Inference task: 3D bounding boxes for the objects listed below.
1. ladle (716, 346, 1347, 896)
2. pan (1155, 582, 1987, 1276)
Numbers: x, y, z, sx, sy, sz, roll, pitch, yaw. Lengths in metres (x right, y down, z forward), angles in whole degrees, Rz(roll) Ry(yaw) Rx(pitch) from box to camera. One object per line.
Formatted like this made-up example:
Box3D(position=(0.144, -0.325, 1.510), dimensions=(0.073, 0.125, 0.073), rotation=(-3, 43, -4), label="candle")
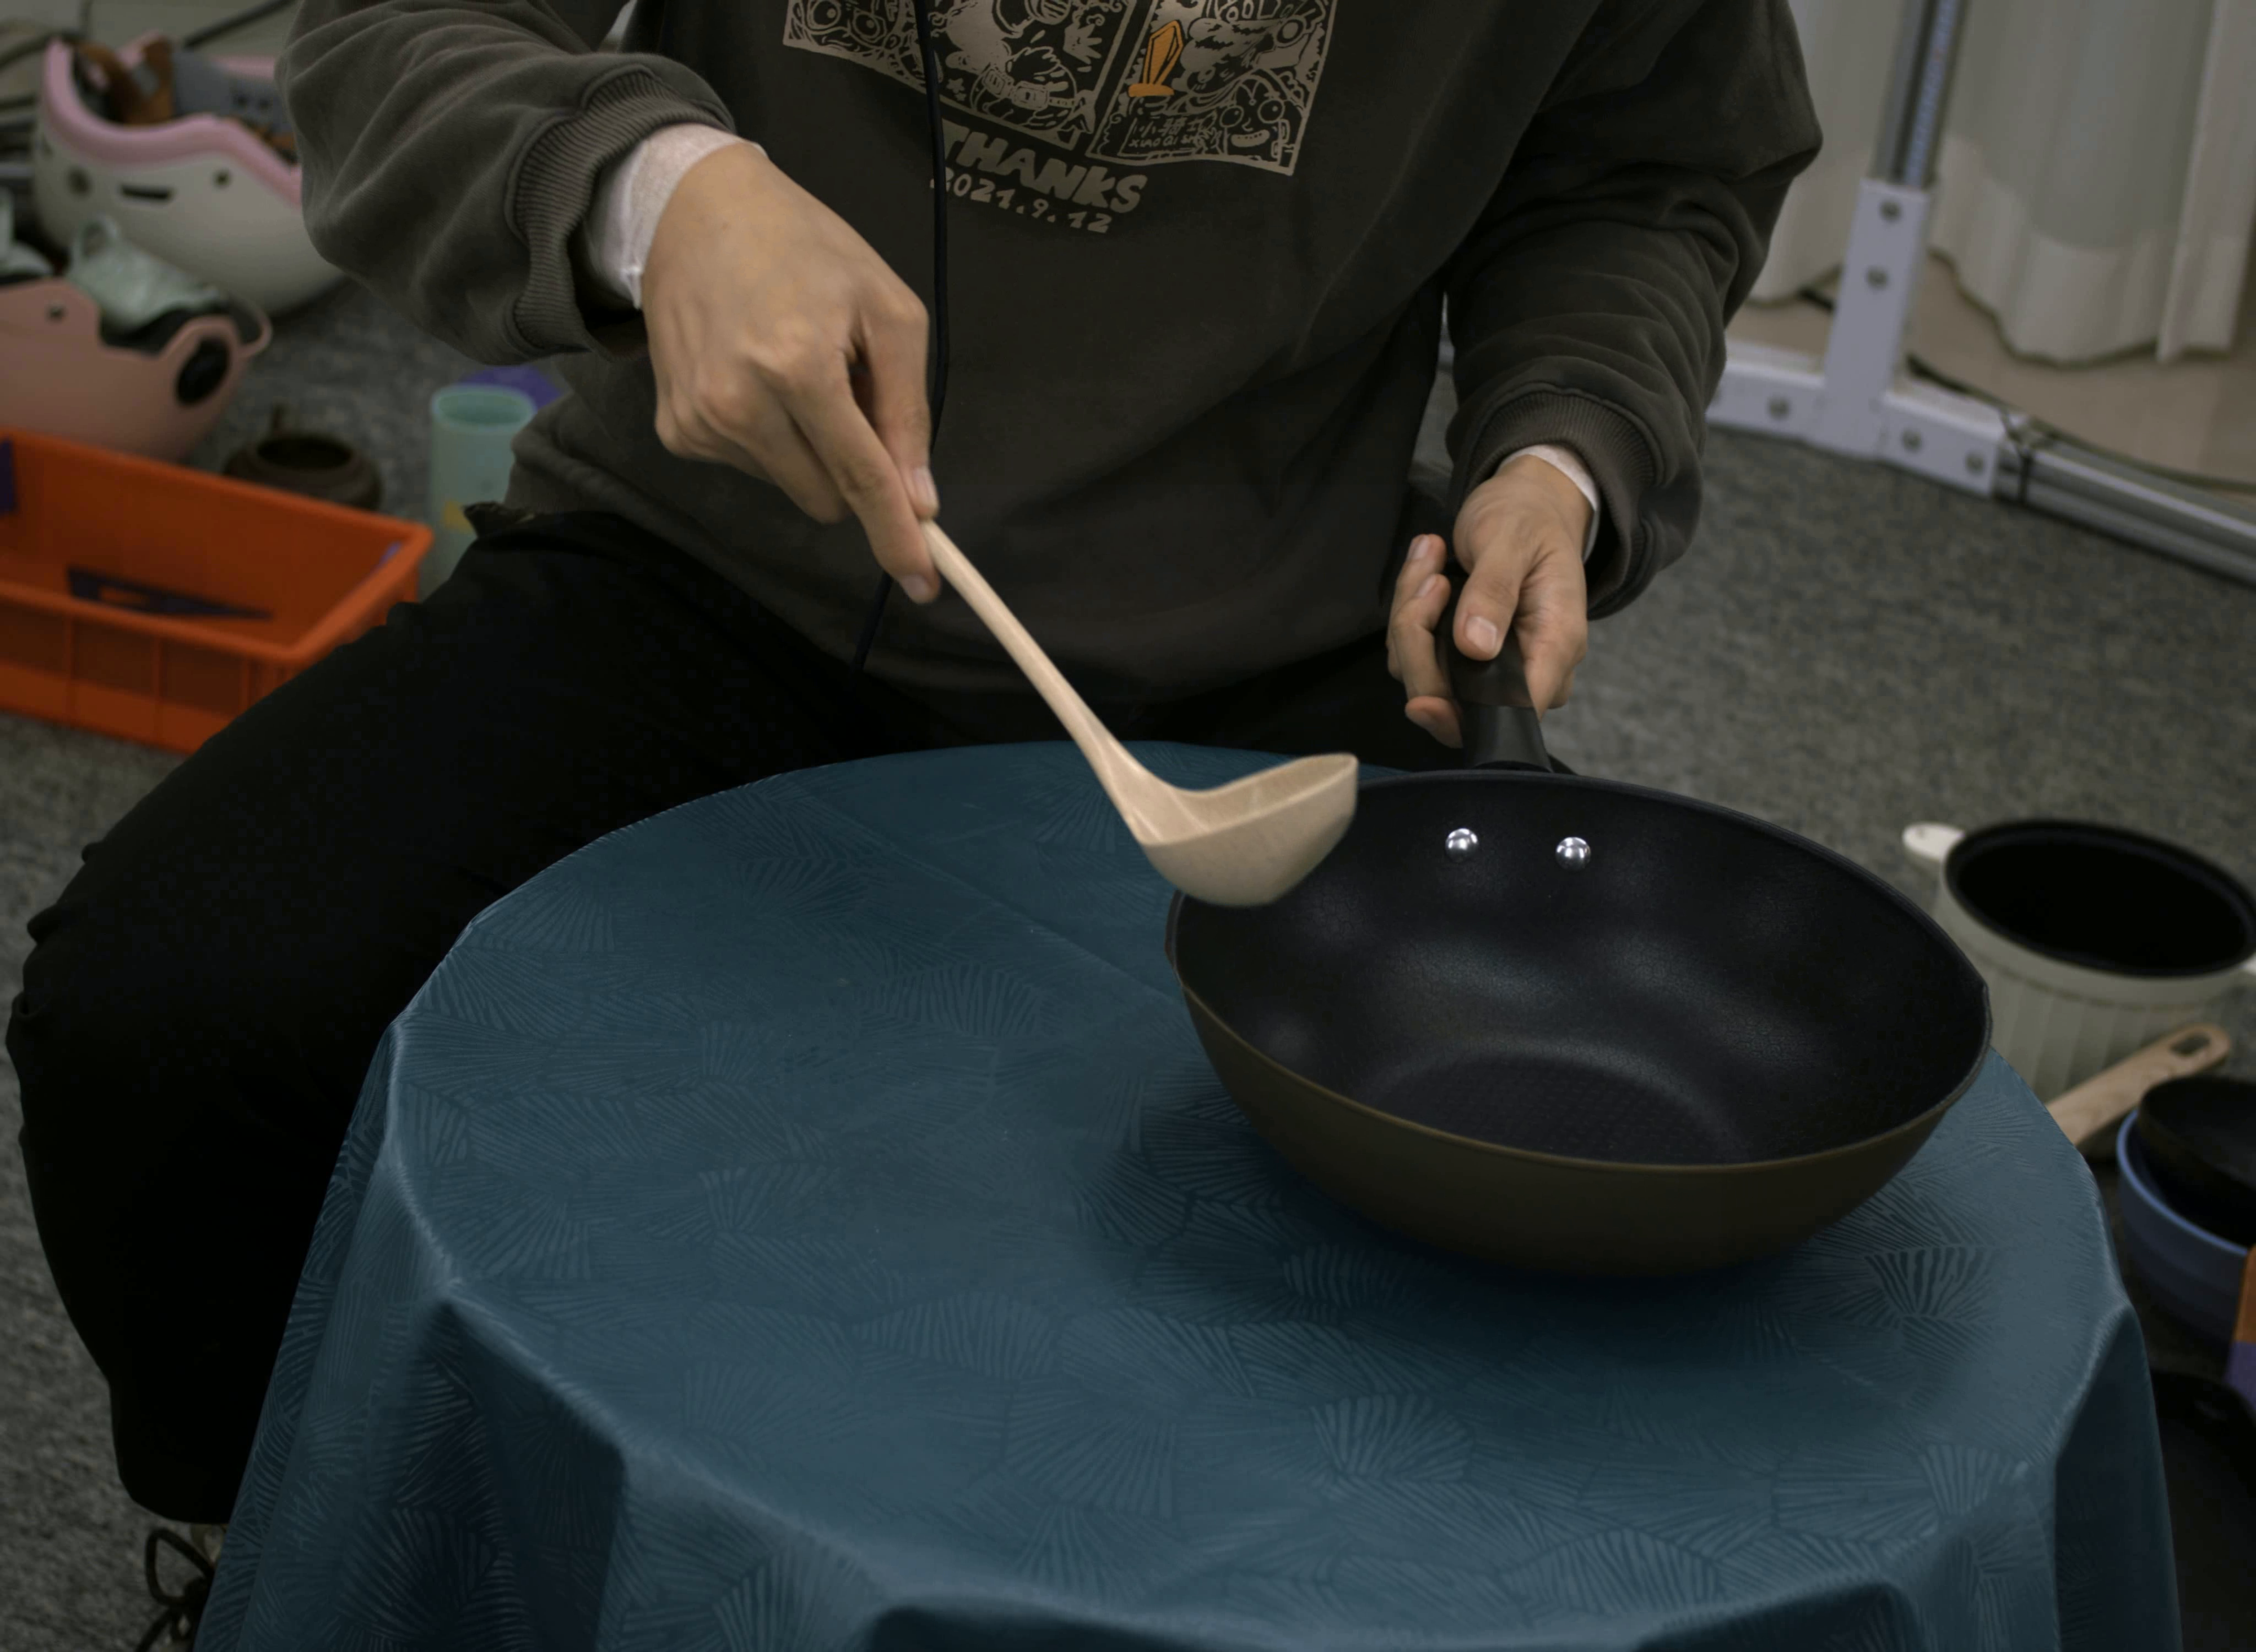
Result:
Box3D(position=(-0.031, -0.083, 1.713), dimensions=(0.255, 0.073, 0.072), rotation=(47, 42, 7), label="ladle")
Box3D(position=(0.141, 0.038, 1.913), dimensions=(0.287, 0.086, 0.466), rotation=(3, 26, -6), label="pan")
